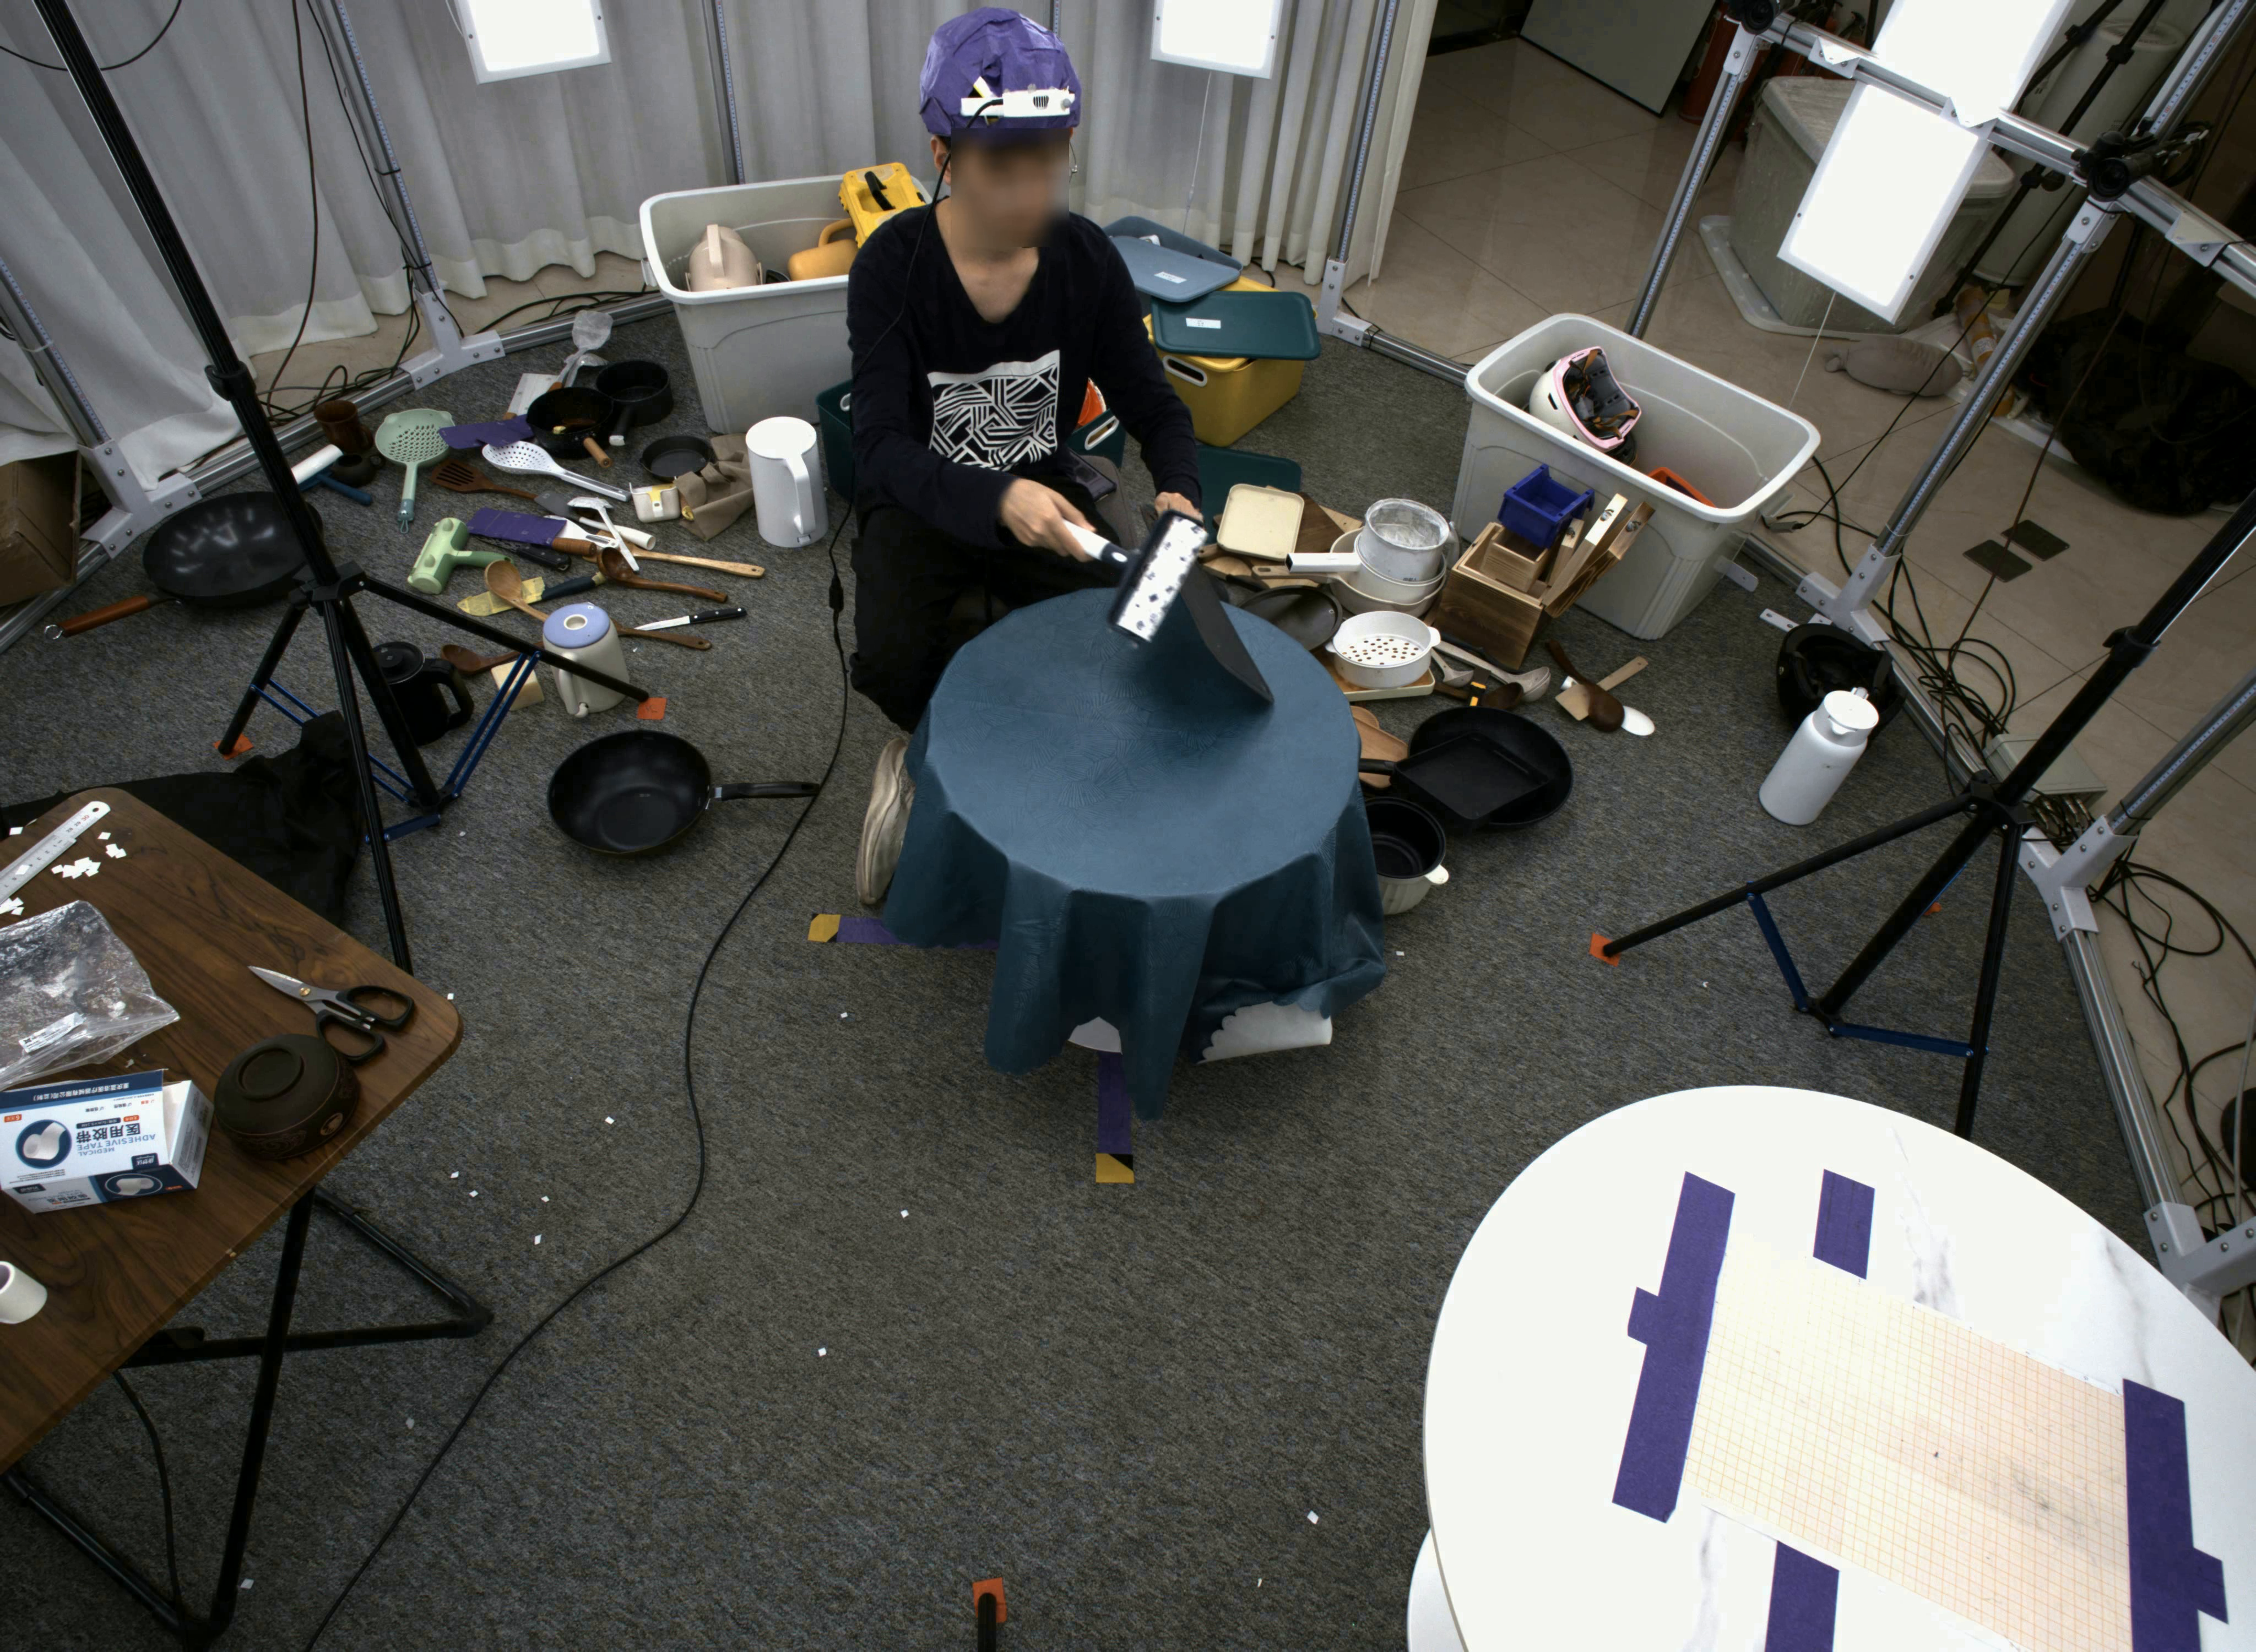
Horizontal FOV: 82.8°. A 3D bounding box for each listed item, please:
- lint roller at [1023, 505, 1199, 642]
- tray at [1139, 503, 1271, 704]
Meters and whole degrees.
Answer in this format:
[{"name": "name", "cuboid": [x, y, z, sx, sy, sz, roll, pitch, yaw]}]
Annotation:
[{"name": "lint roller", "cuboid": [-0.046, -0.370, 1.705, 0.250, 0.050, 0.176, 30, 94, 23]}, {"name": "tray", "cuboid": [0.107, -0.324, 1.826, 0.010, 0.208, 0.332, -34, 59, 19]}]
